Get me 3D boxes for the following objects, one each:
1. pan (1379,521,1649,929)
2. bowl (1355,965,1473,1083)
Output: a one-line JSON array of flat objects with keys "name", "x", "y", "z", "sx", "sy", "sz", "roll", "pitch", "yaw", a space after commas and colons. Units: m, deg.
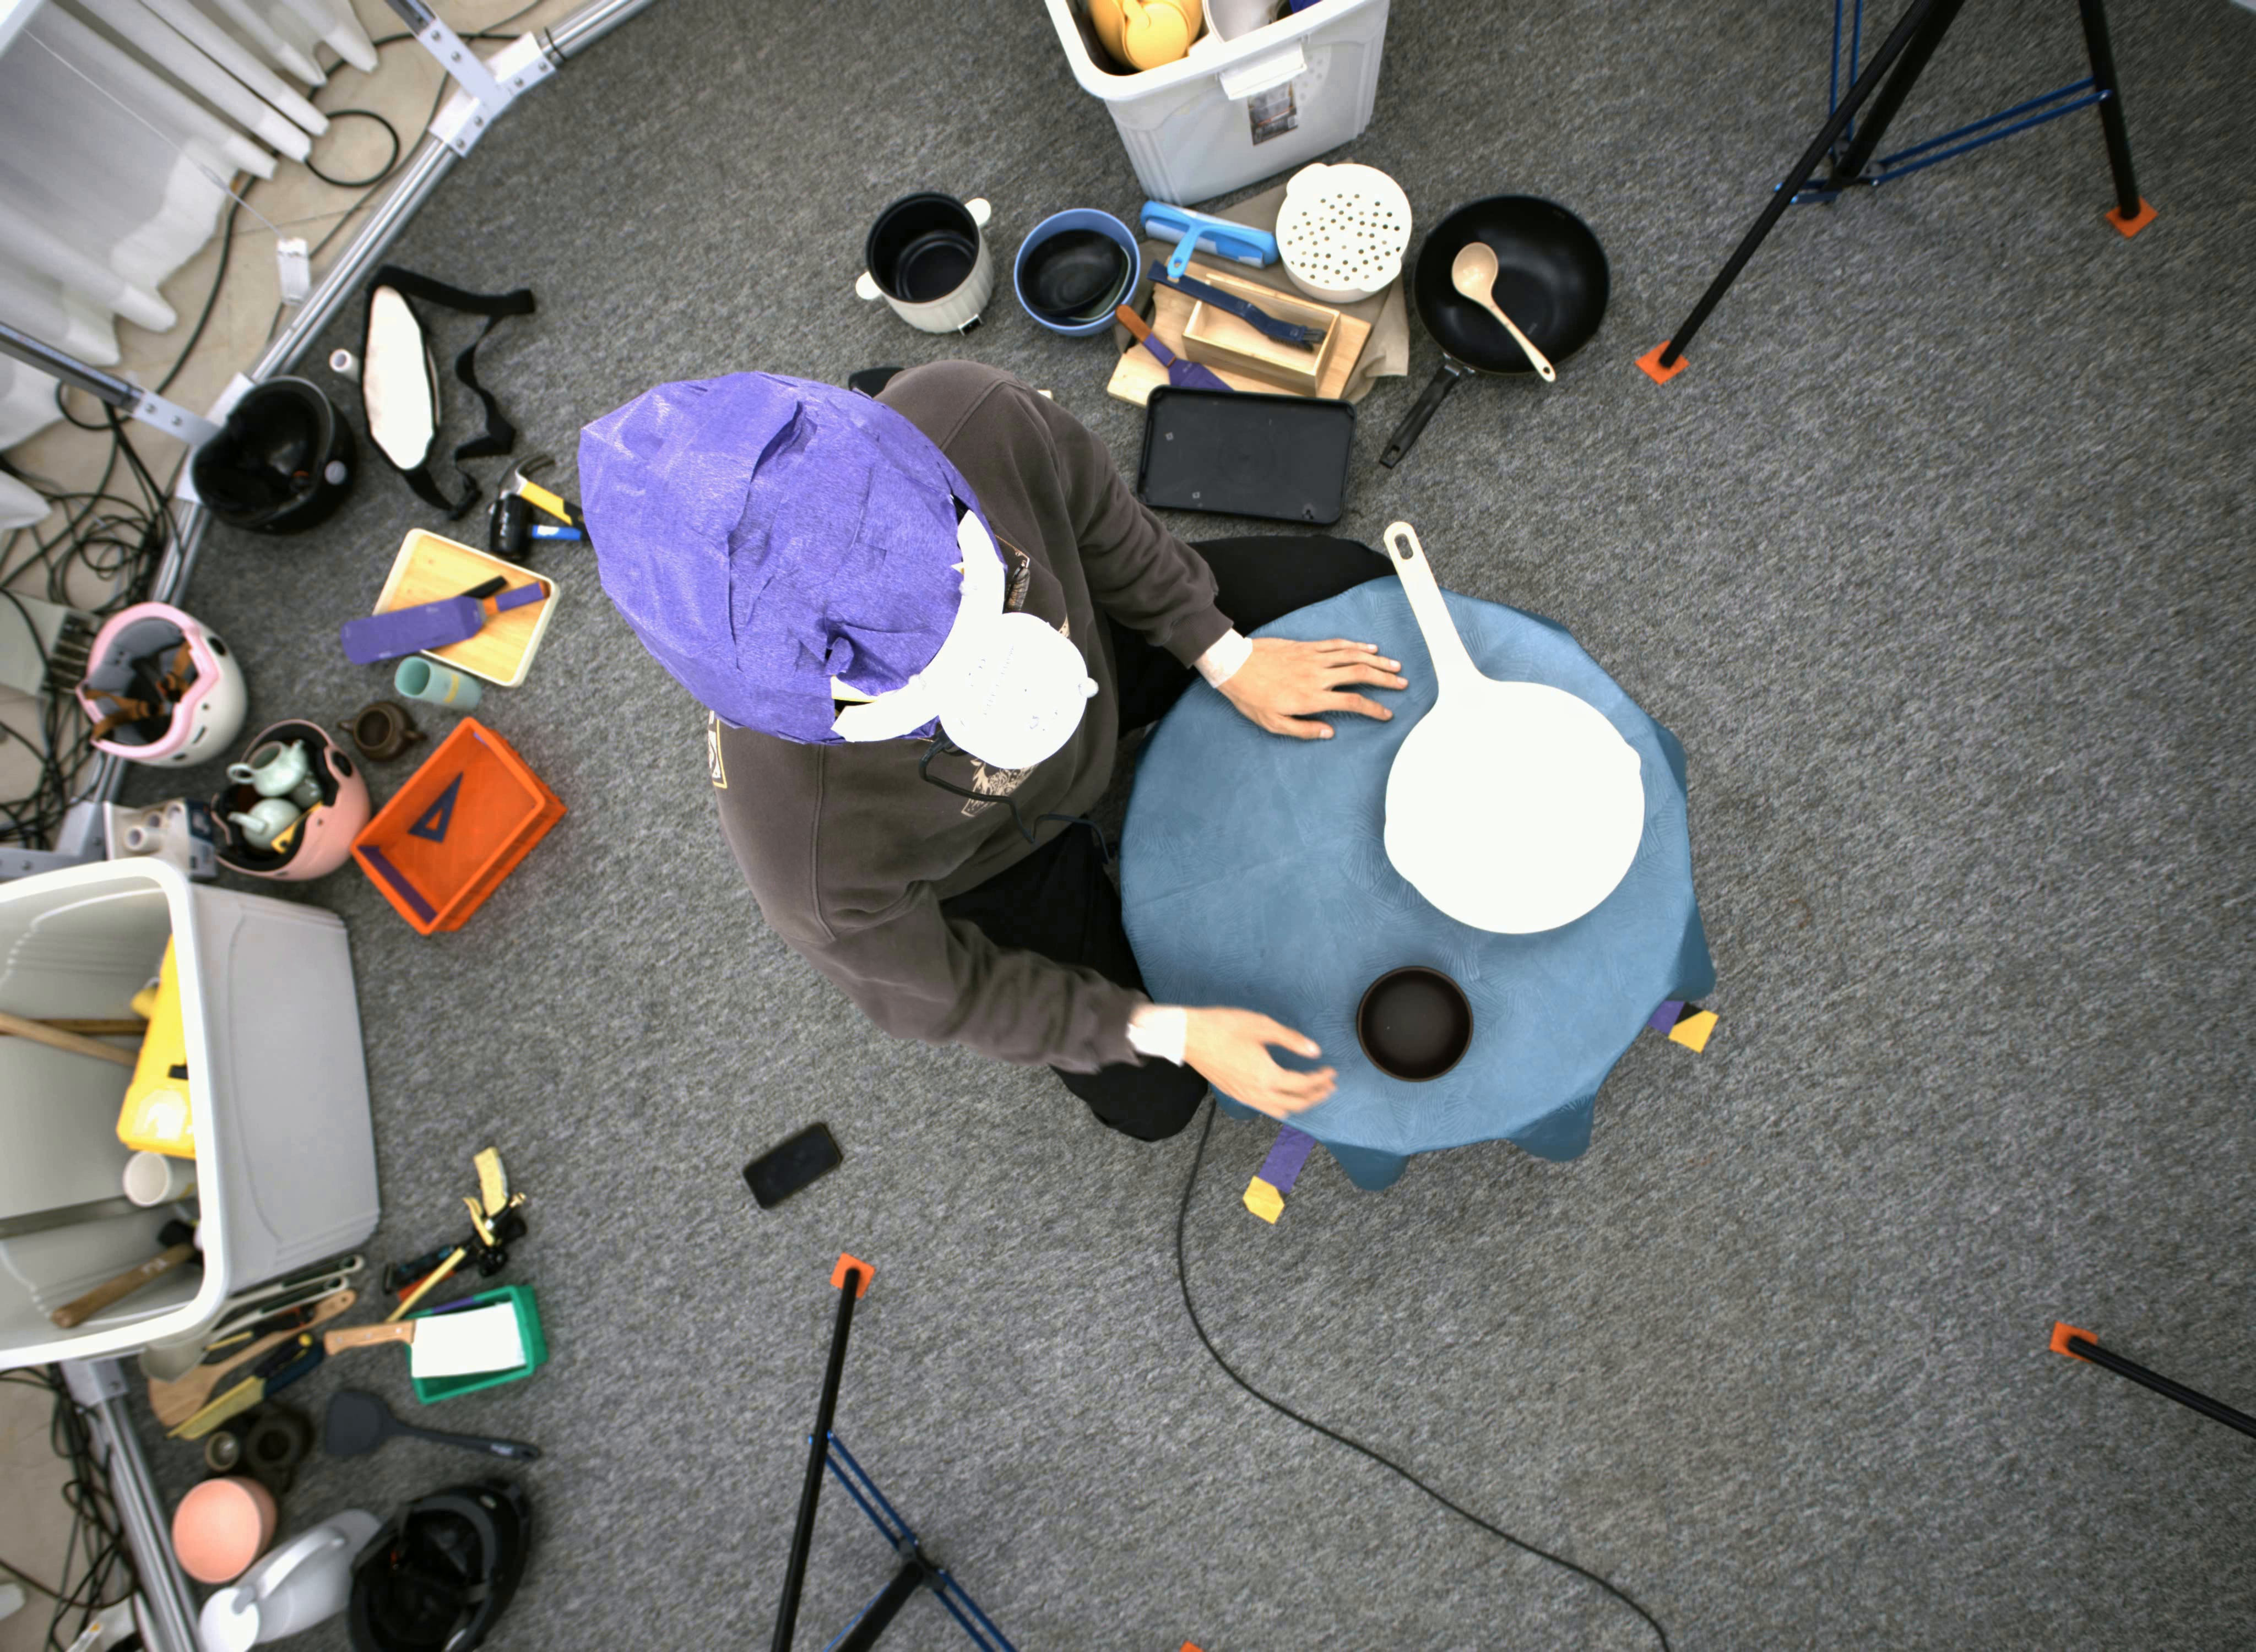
[{"name": "pan", "x": 0.357, "y": -0.107, "z": 1.400, "sx": 0.265, "sy": 0.102, "sz": 0.432, "roll": -23, "pitch": 83, "yaw": 10}, {"name": "bowl", "x": 0.291, "y": 0.199, "z": 1.411, "sx": 0.118, "sy": 0.070, "sz": 0.117, "roll": -1, "pitch": 88, "yaw": 10}]
